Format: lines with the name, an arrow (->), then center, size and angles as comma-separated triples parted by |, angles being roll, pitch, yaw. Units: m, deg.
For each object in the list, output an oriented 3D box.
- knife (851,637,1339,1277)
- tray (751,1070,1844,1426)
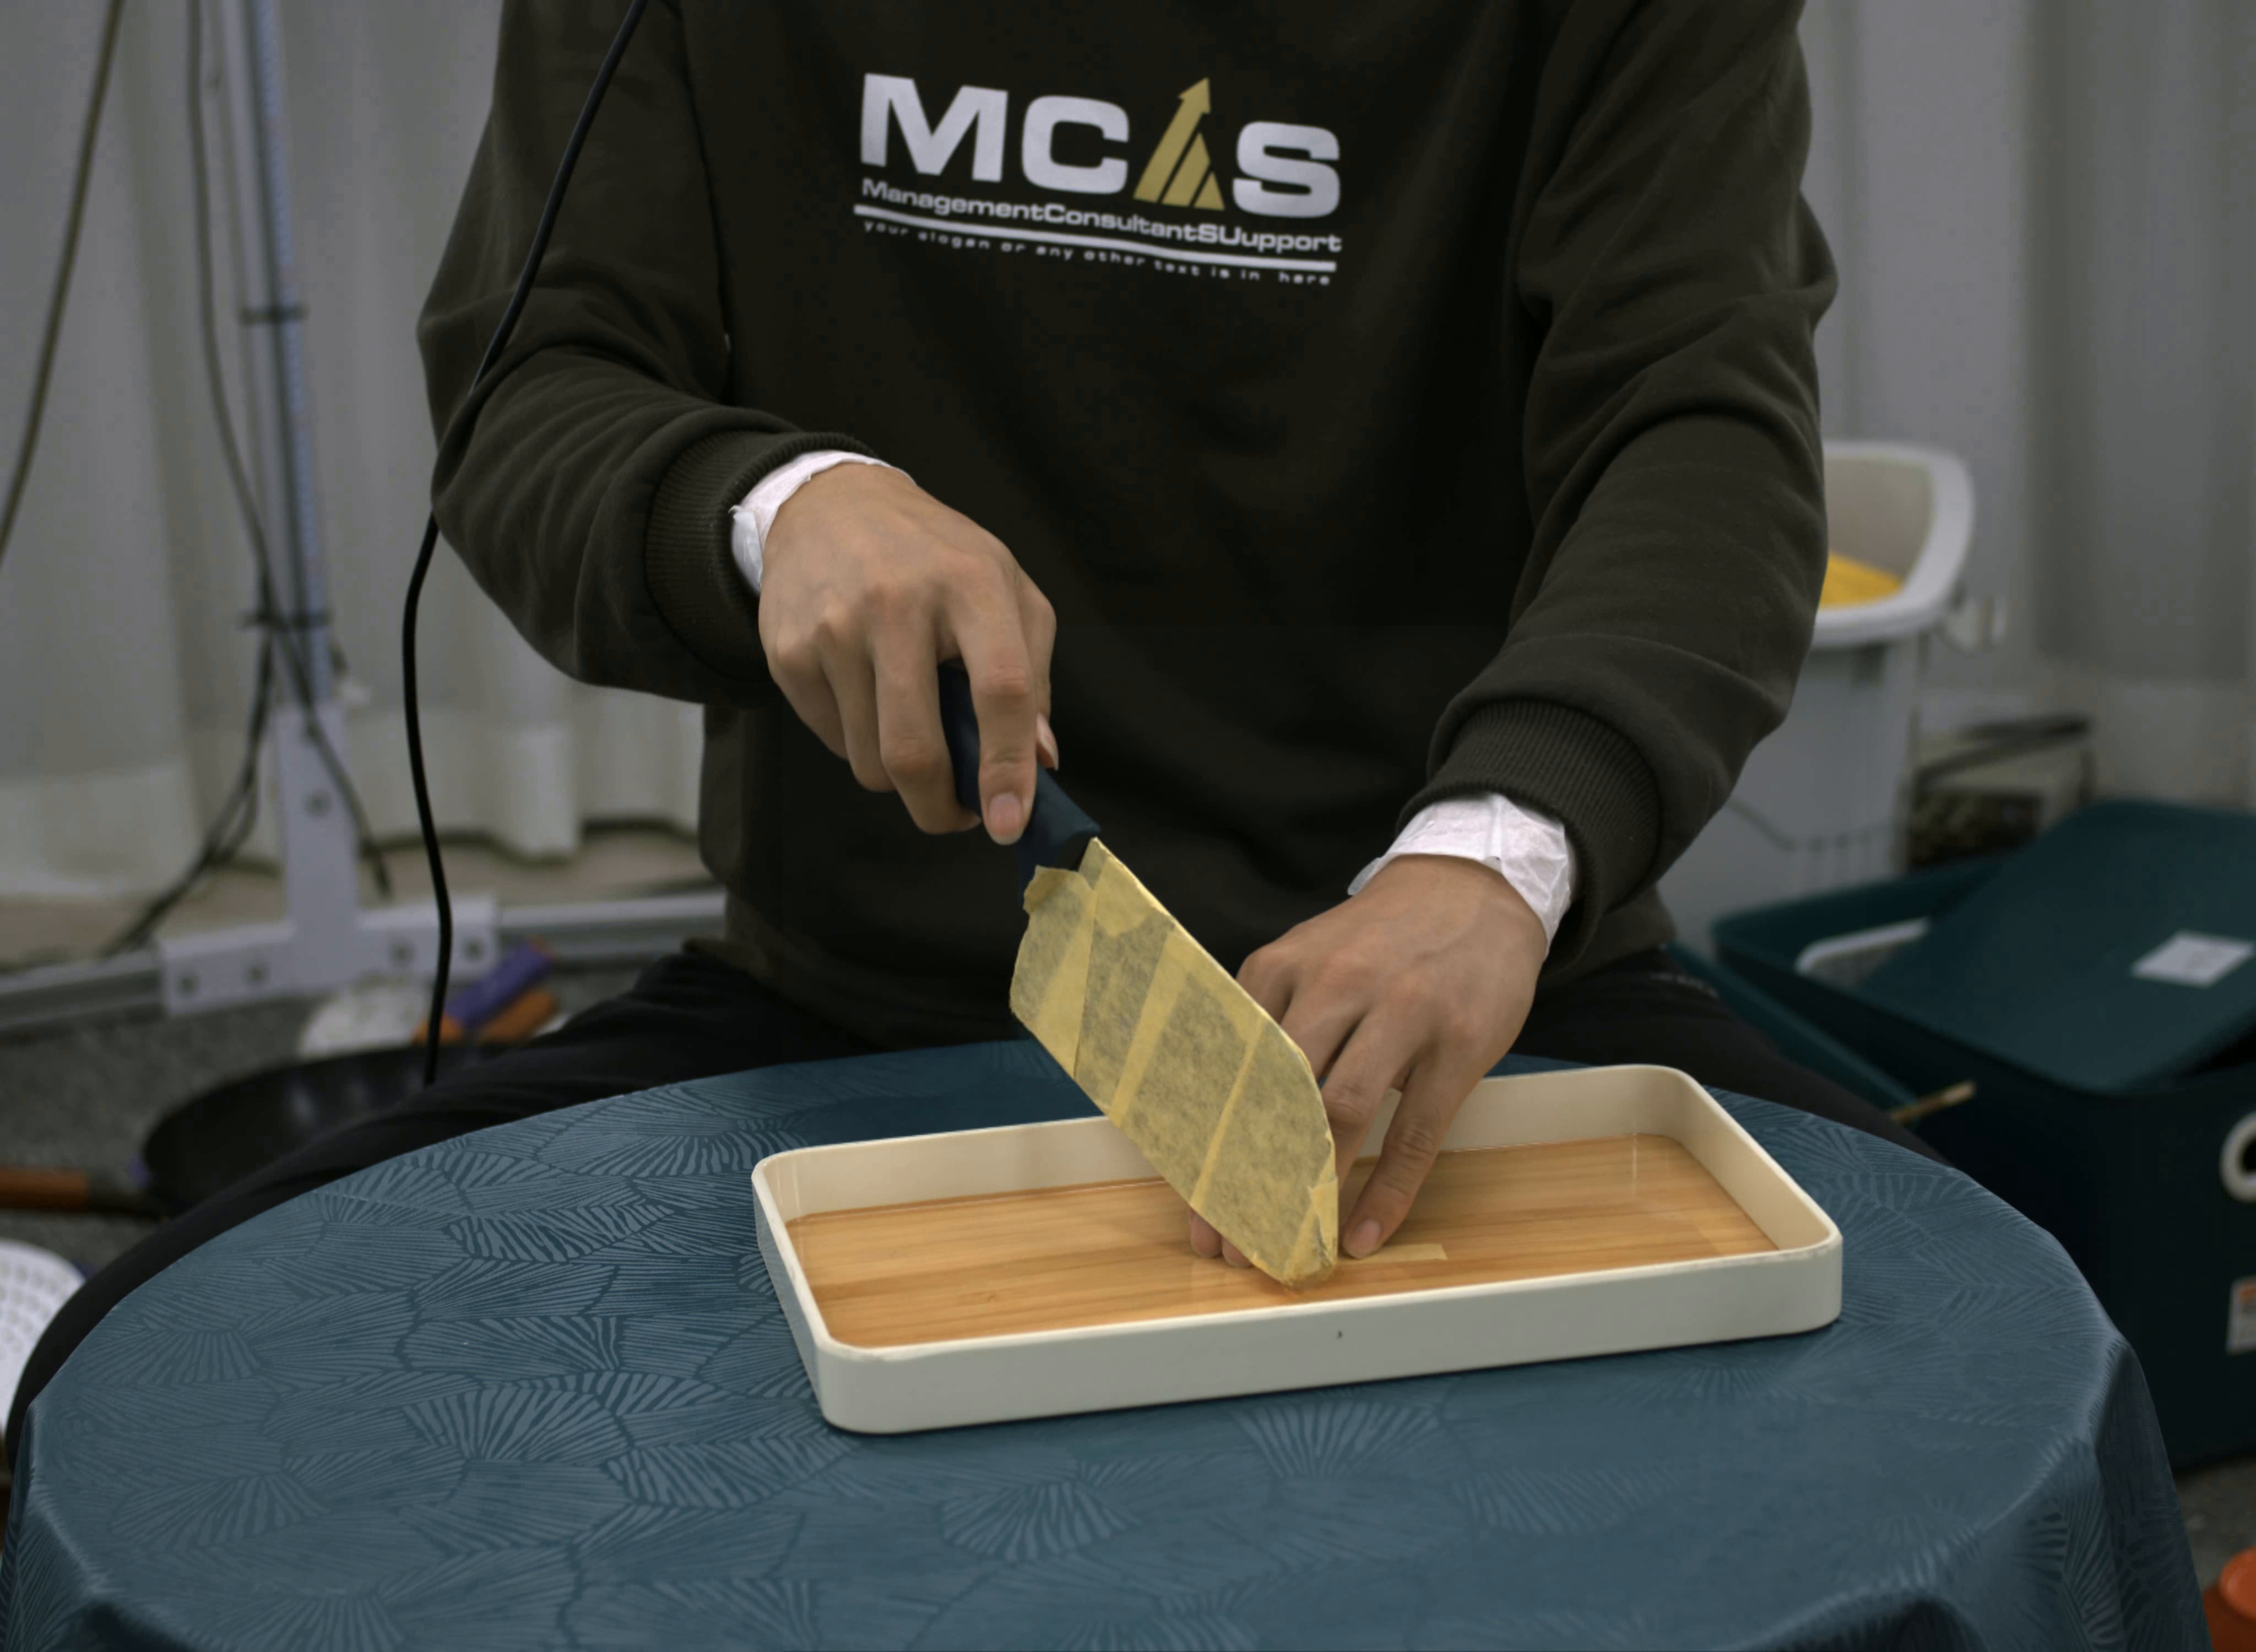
knife -> -0.013, 0.037, 1.668 | 0.027, 0.080, 0.293 | -1, 36, -37
tray -> 0.046, 0.123, 1.627 | 0.299, 0.027, 0.193 | -5, 14, -9
